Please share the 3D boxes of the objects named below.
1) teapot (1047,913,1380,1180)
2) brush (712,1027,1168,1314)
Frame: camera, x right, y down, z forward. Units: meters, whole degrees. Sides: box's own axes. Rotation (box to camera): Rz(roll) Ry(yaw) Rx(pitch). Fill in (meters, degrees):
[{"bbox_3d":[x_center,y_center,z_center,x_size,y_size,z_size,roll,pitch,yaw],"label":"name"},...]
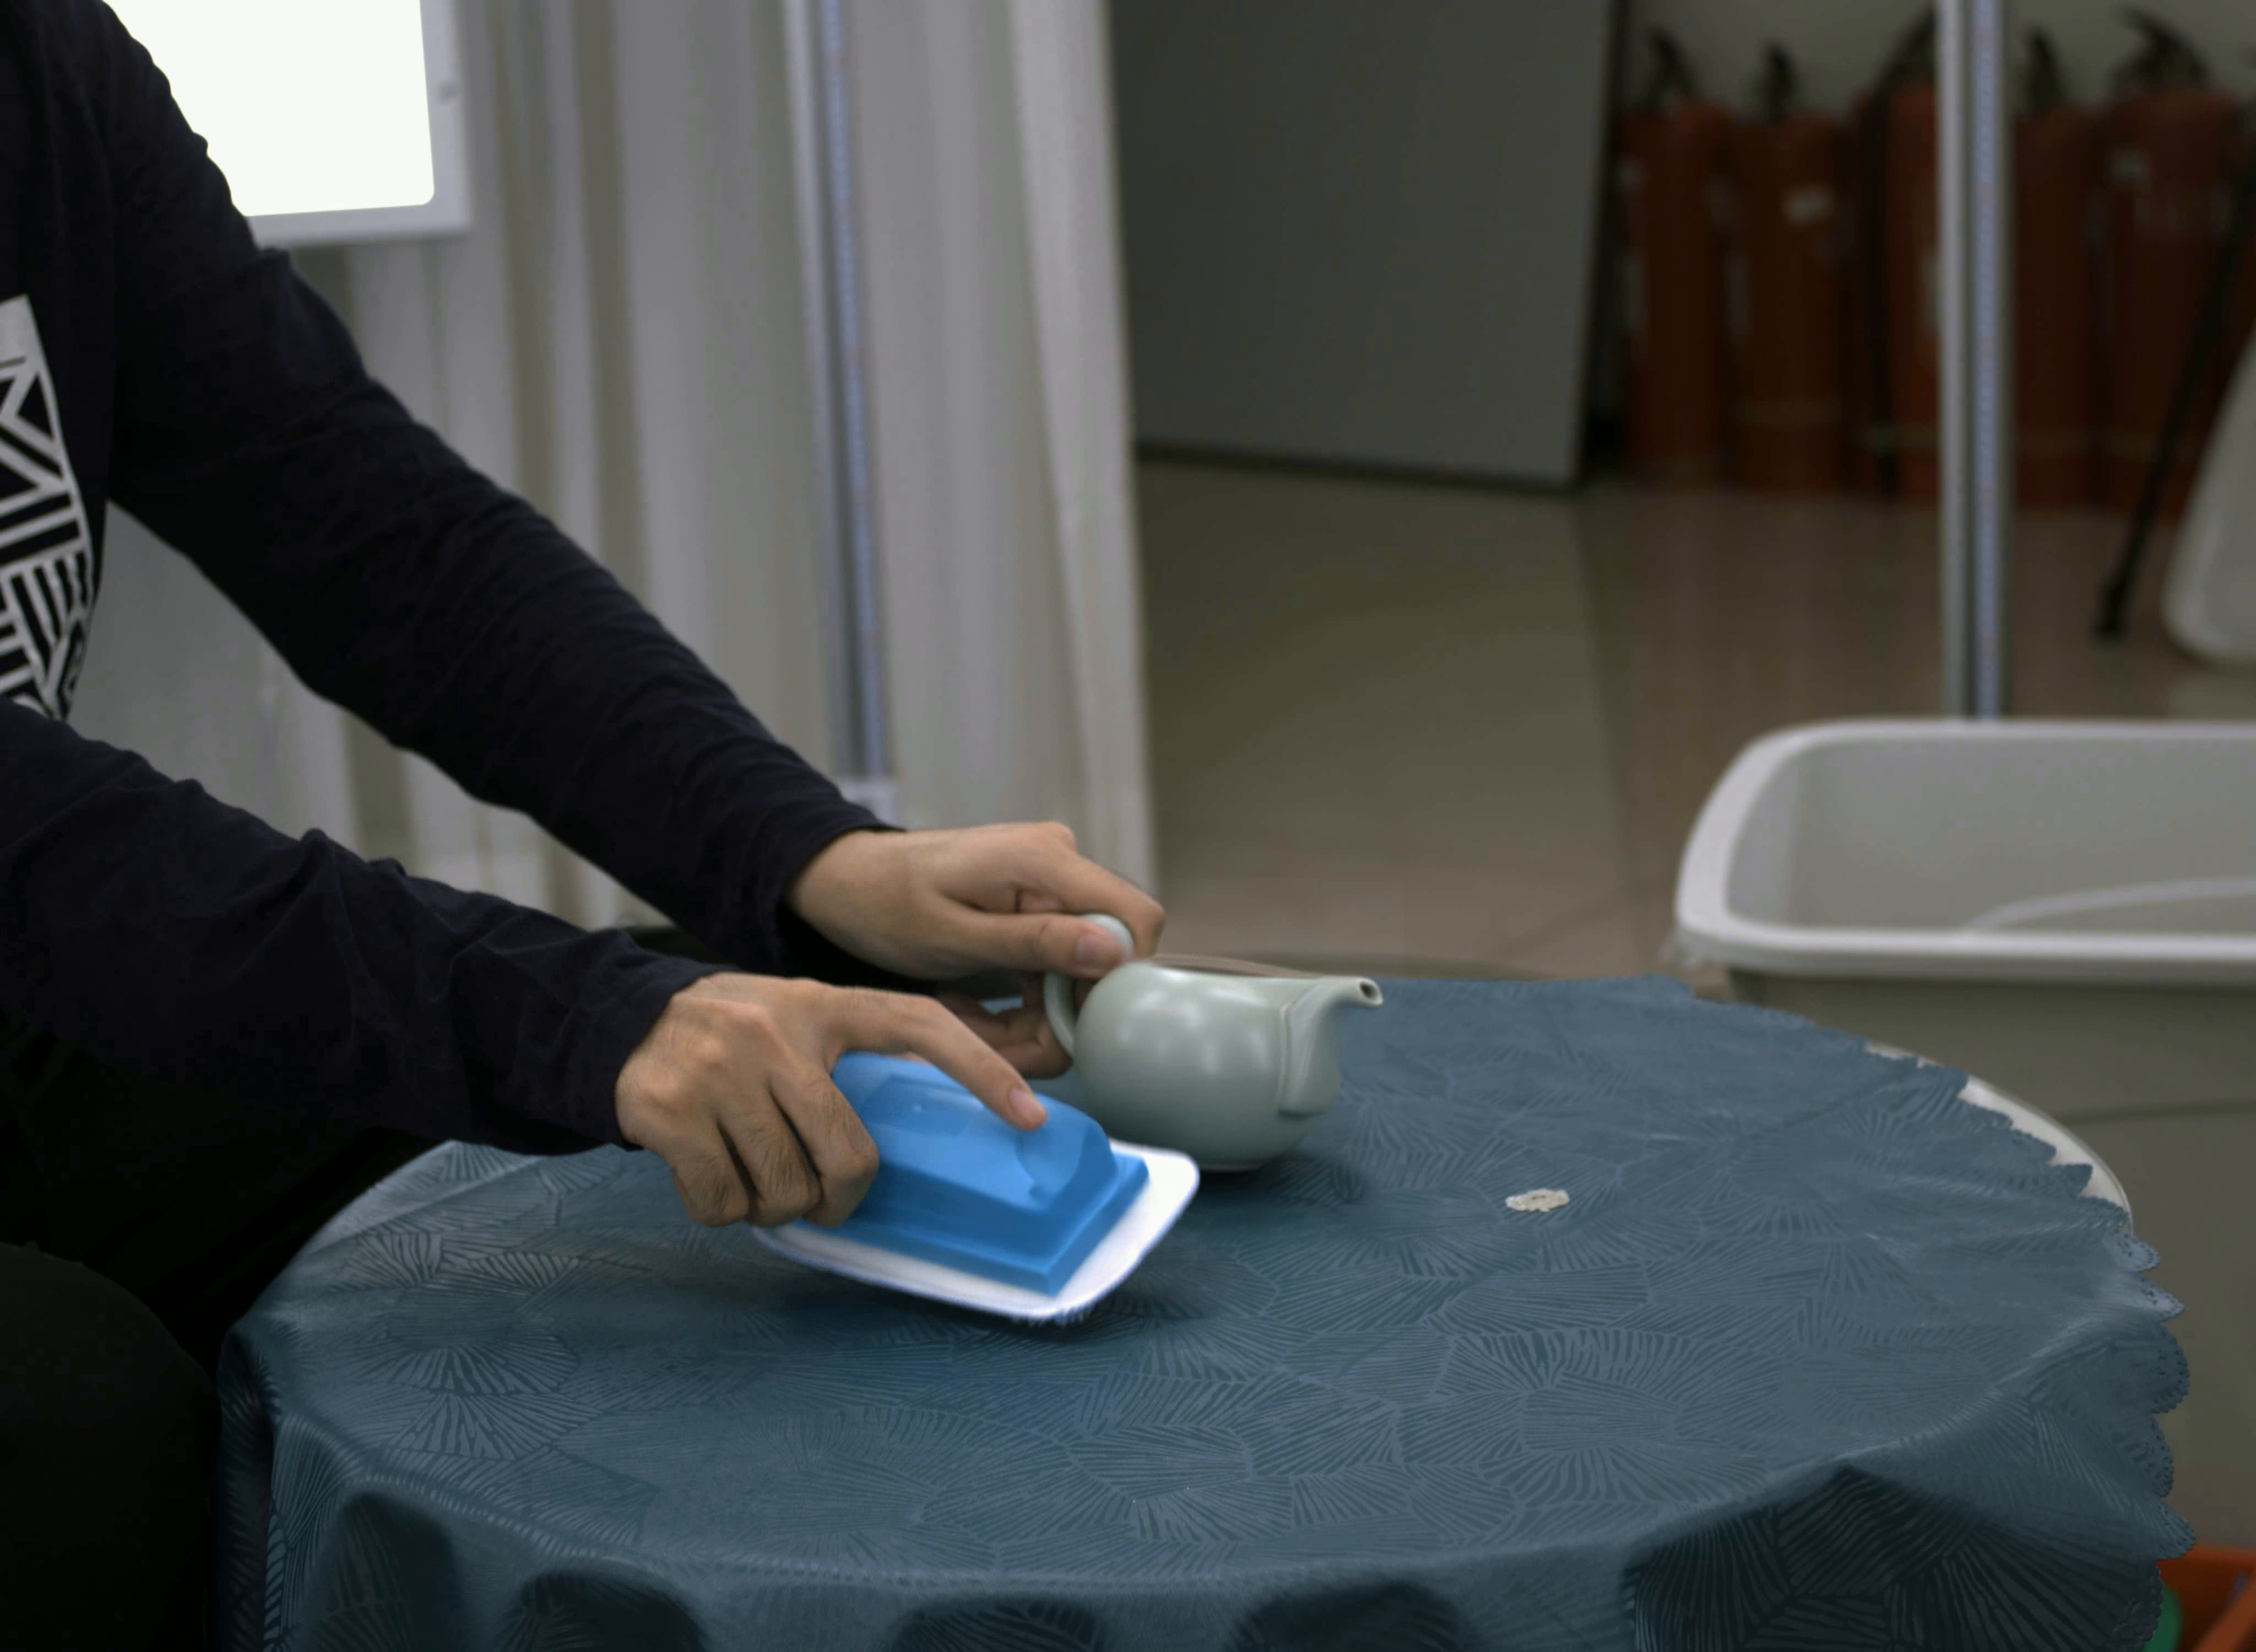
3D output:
[{"bbox_3d":[0.026,0.077,1.784,0.086,0.075,0.145,-2,12,-44],"label":"teapot"},{"bbox_3d":[-0.061,0.103,1.678,0.145,0.056,0.083,15,42,38],"label":"brush"}]
